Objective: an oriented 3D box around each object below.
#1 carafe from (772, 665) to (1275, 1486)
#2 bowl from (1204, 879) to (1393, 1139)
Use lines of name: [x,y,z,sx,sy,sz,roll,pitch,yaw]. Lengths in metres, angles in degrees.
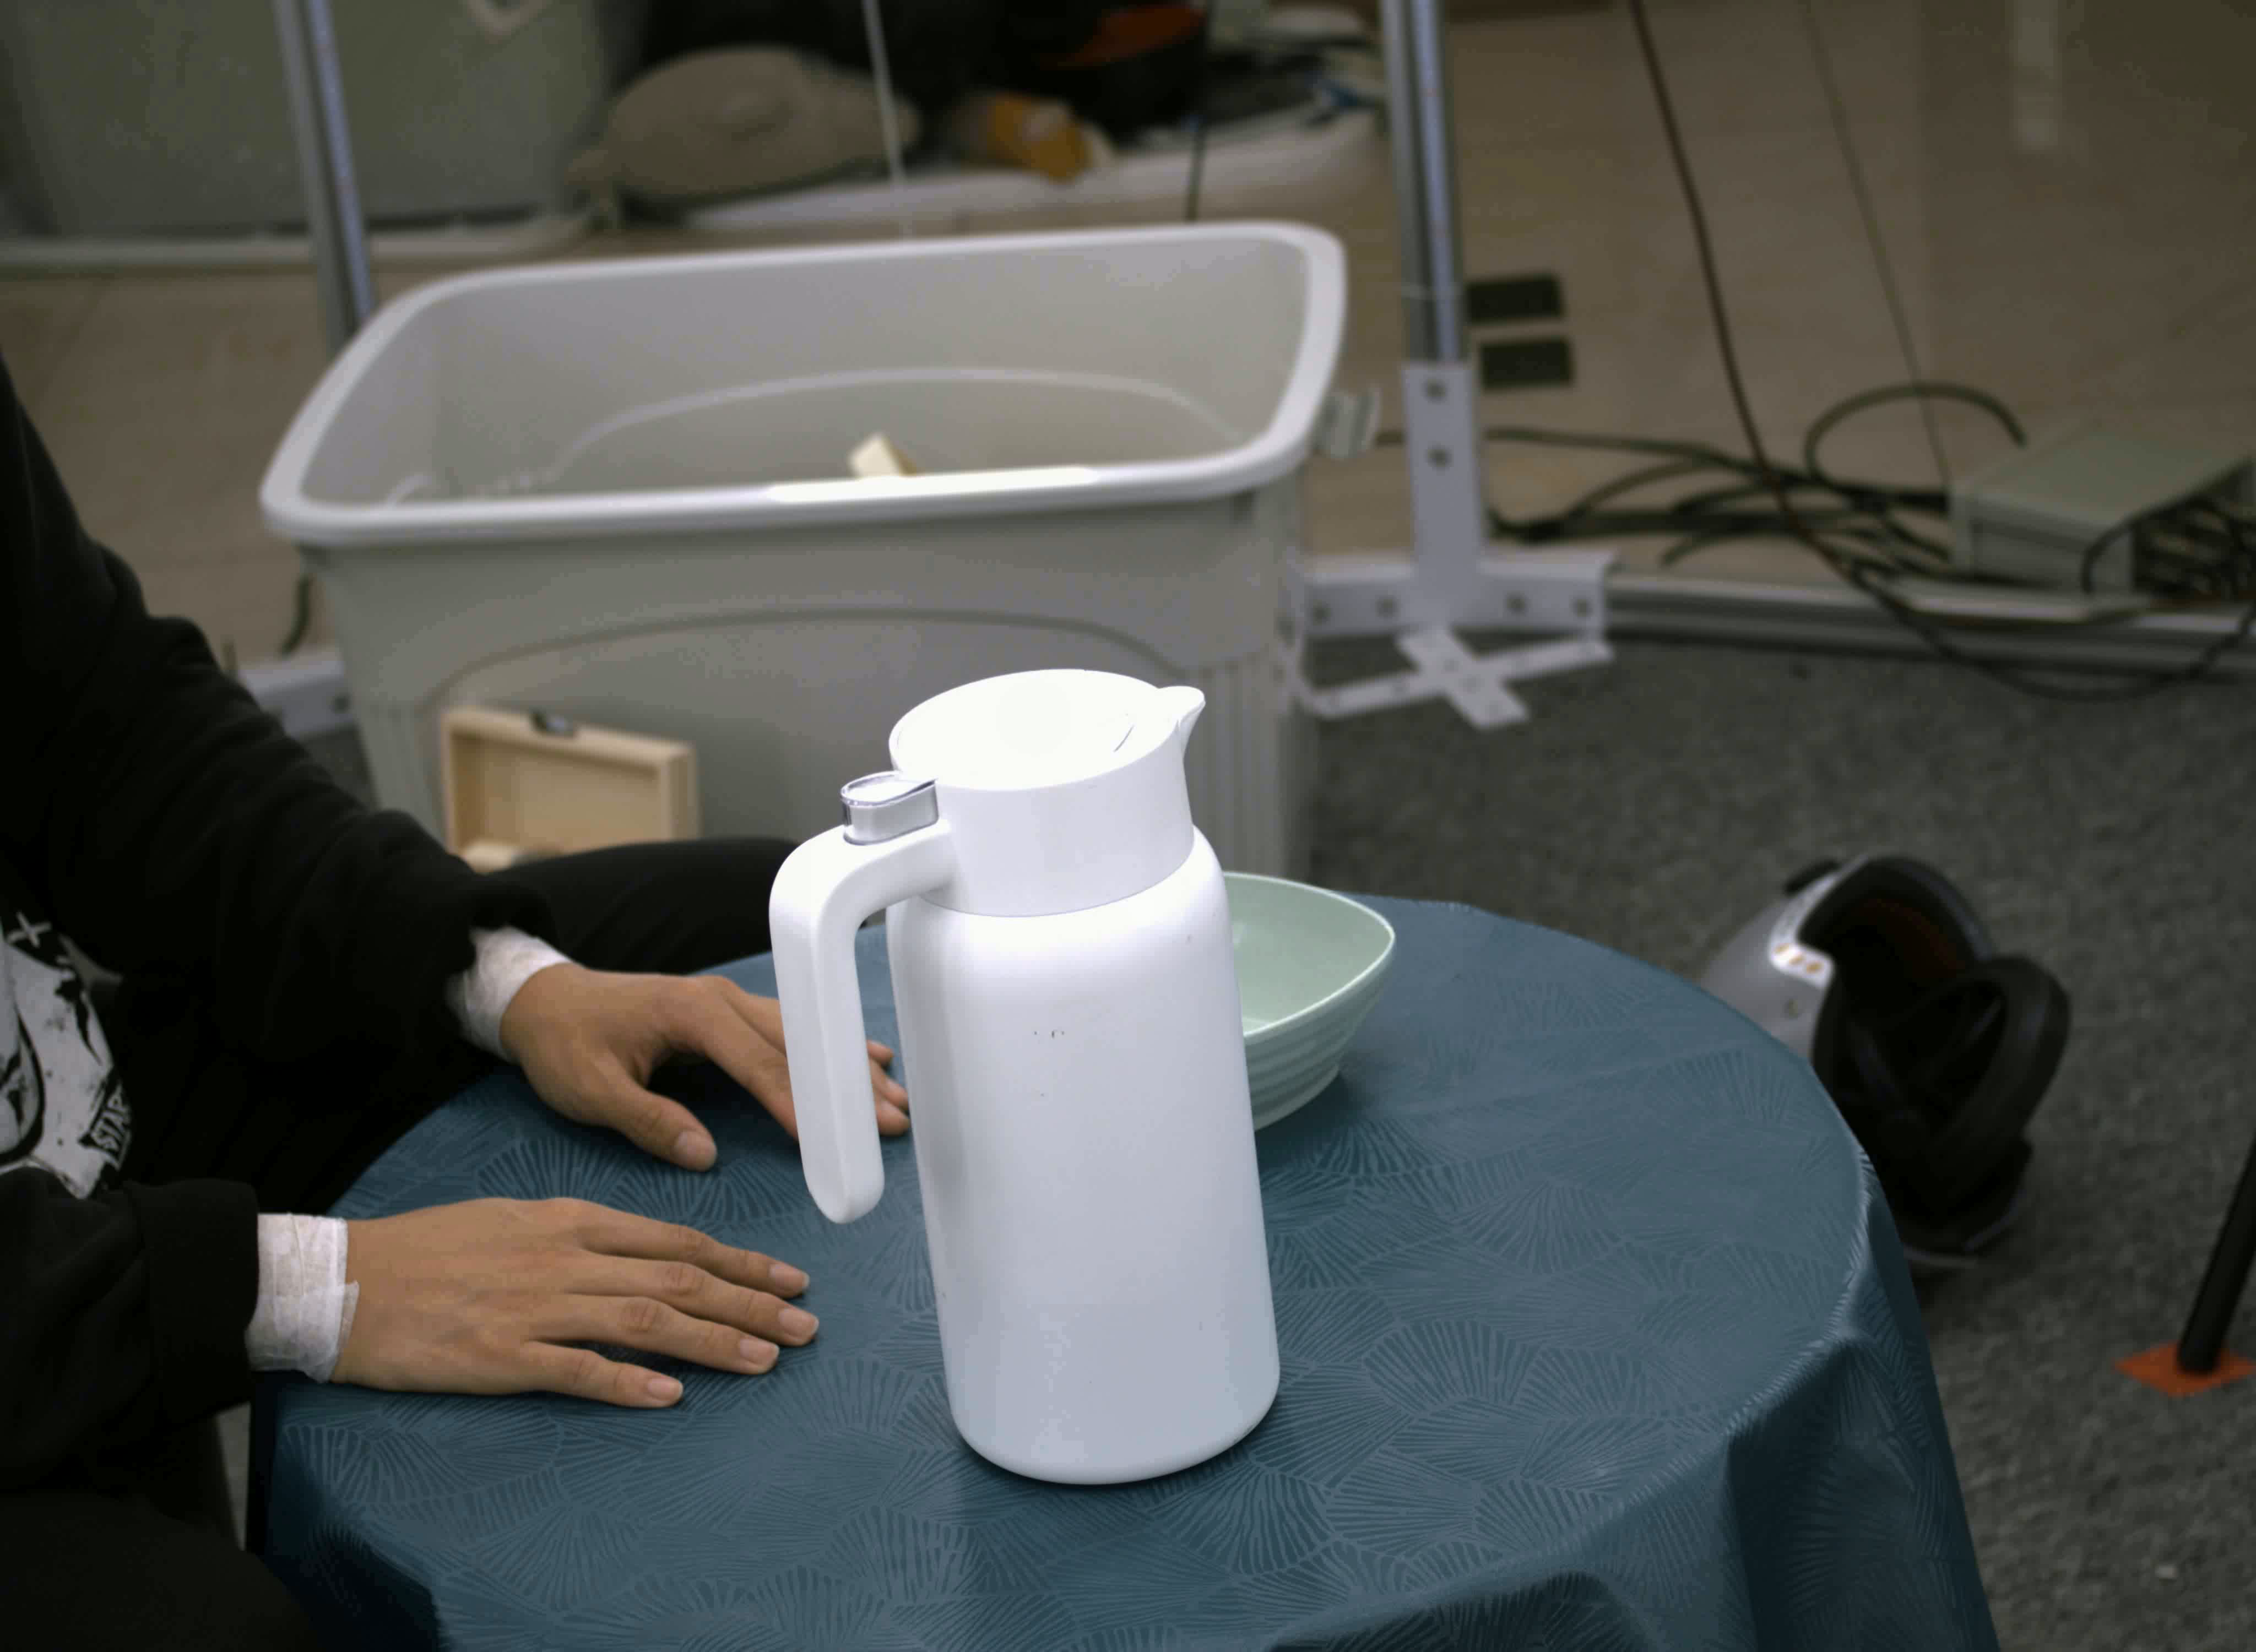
carafe: [-0.032,0.092,1.937,0.171,0.273,0.122,-23,32,-30]
bowl: [0.030,0.078,2.209,0.151,0.059,0.149,-5,25,2]
